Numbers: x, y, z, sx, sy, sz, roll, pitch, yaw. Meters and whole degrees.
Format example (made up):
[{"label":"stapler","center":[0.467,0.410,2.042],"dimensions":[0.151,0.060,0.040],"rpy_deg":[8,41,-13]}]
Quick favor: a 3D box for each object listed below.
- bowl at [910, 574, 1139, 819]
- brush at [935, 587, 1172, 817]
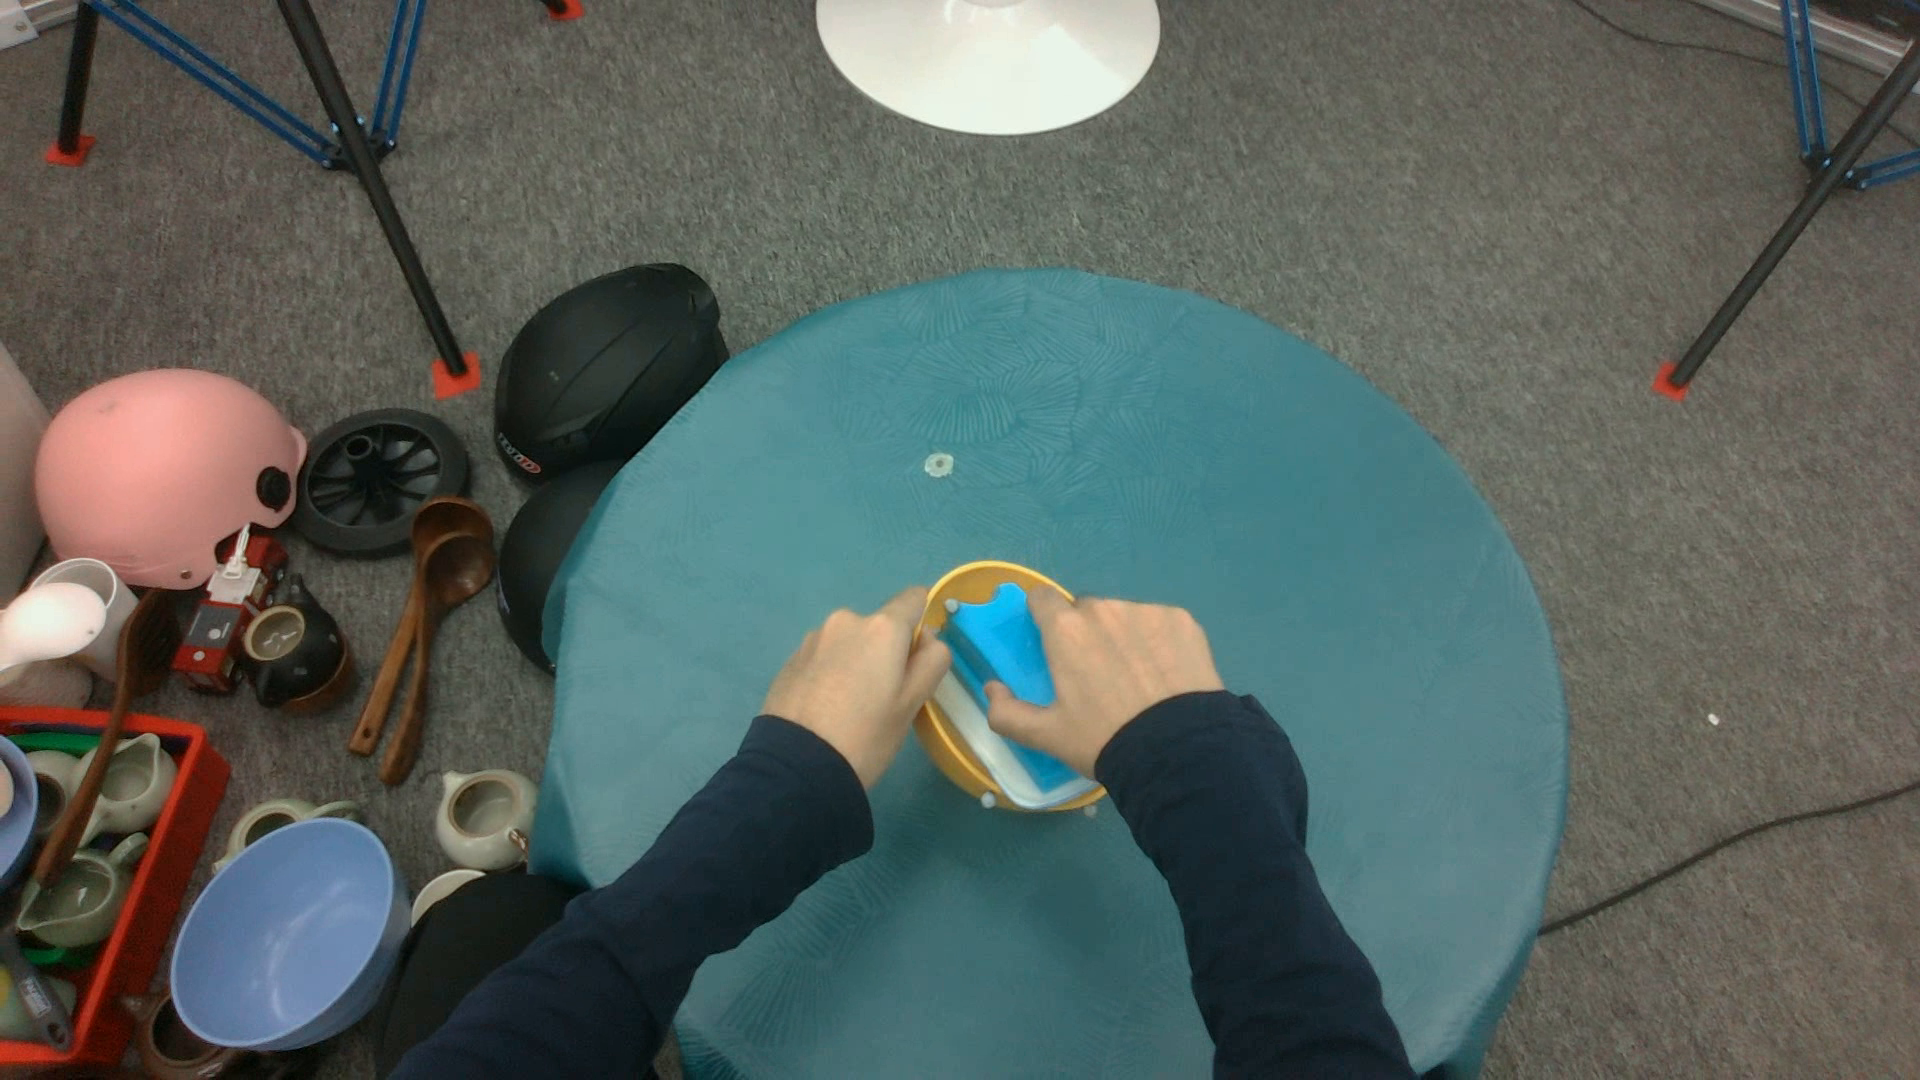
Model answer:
[{"label":"bowl","center":[0.027,0.095,0.763],"dimensions":[0.145,0.060,0.146],"rpy_deg":[20,48,-23]},{"label":"brush","center":[0.043,0.075,0.718],"dimensions":[0.084,0.055,0.144],"rpy_deg":[-25,40,-13]}]
